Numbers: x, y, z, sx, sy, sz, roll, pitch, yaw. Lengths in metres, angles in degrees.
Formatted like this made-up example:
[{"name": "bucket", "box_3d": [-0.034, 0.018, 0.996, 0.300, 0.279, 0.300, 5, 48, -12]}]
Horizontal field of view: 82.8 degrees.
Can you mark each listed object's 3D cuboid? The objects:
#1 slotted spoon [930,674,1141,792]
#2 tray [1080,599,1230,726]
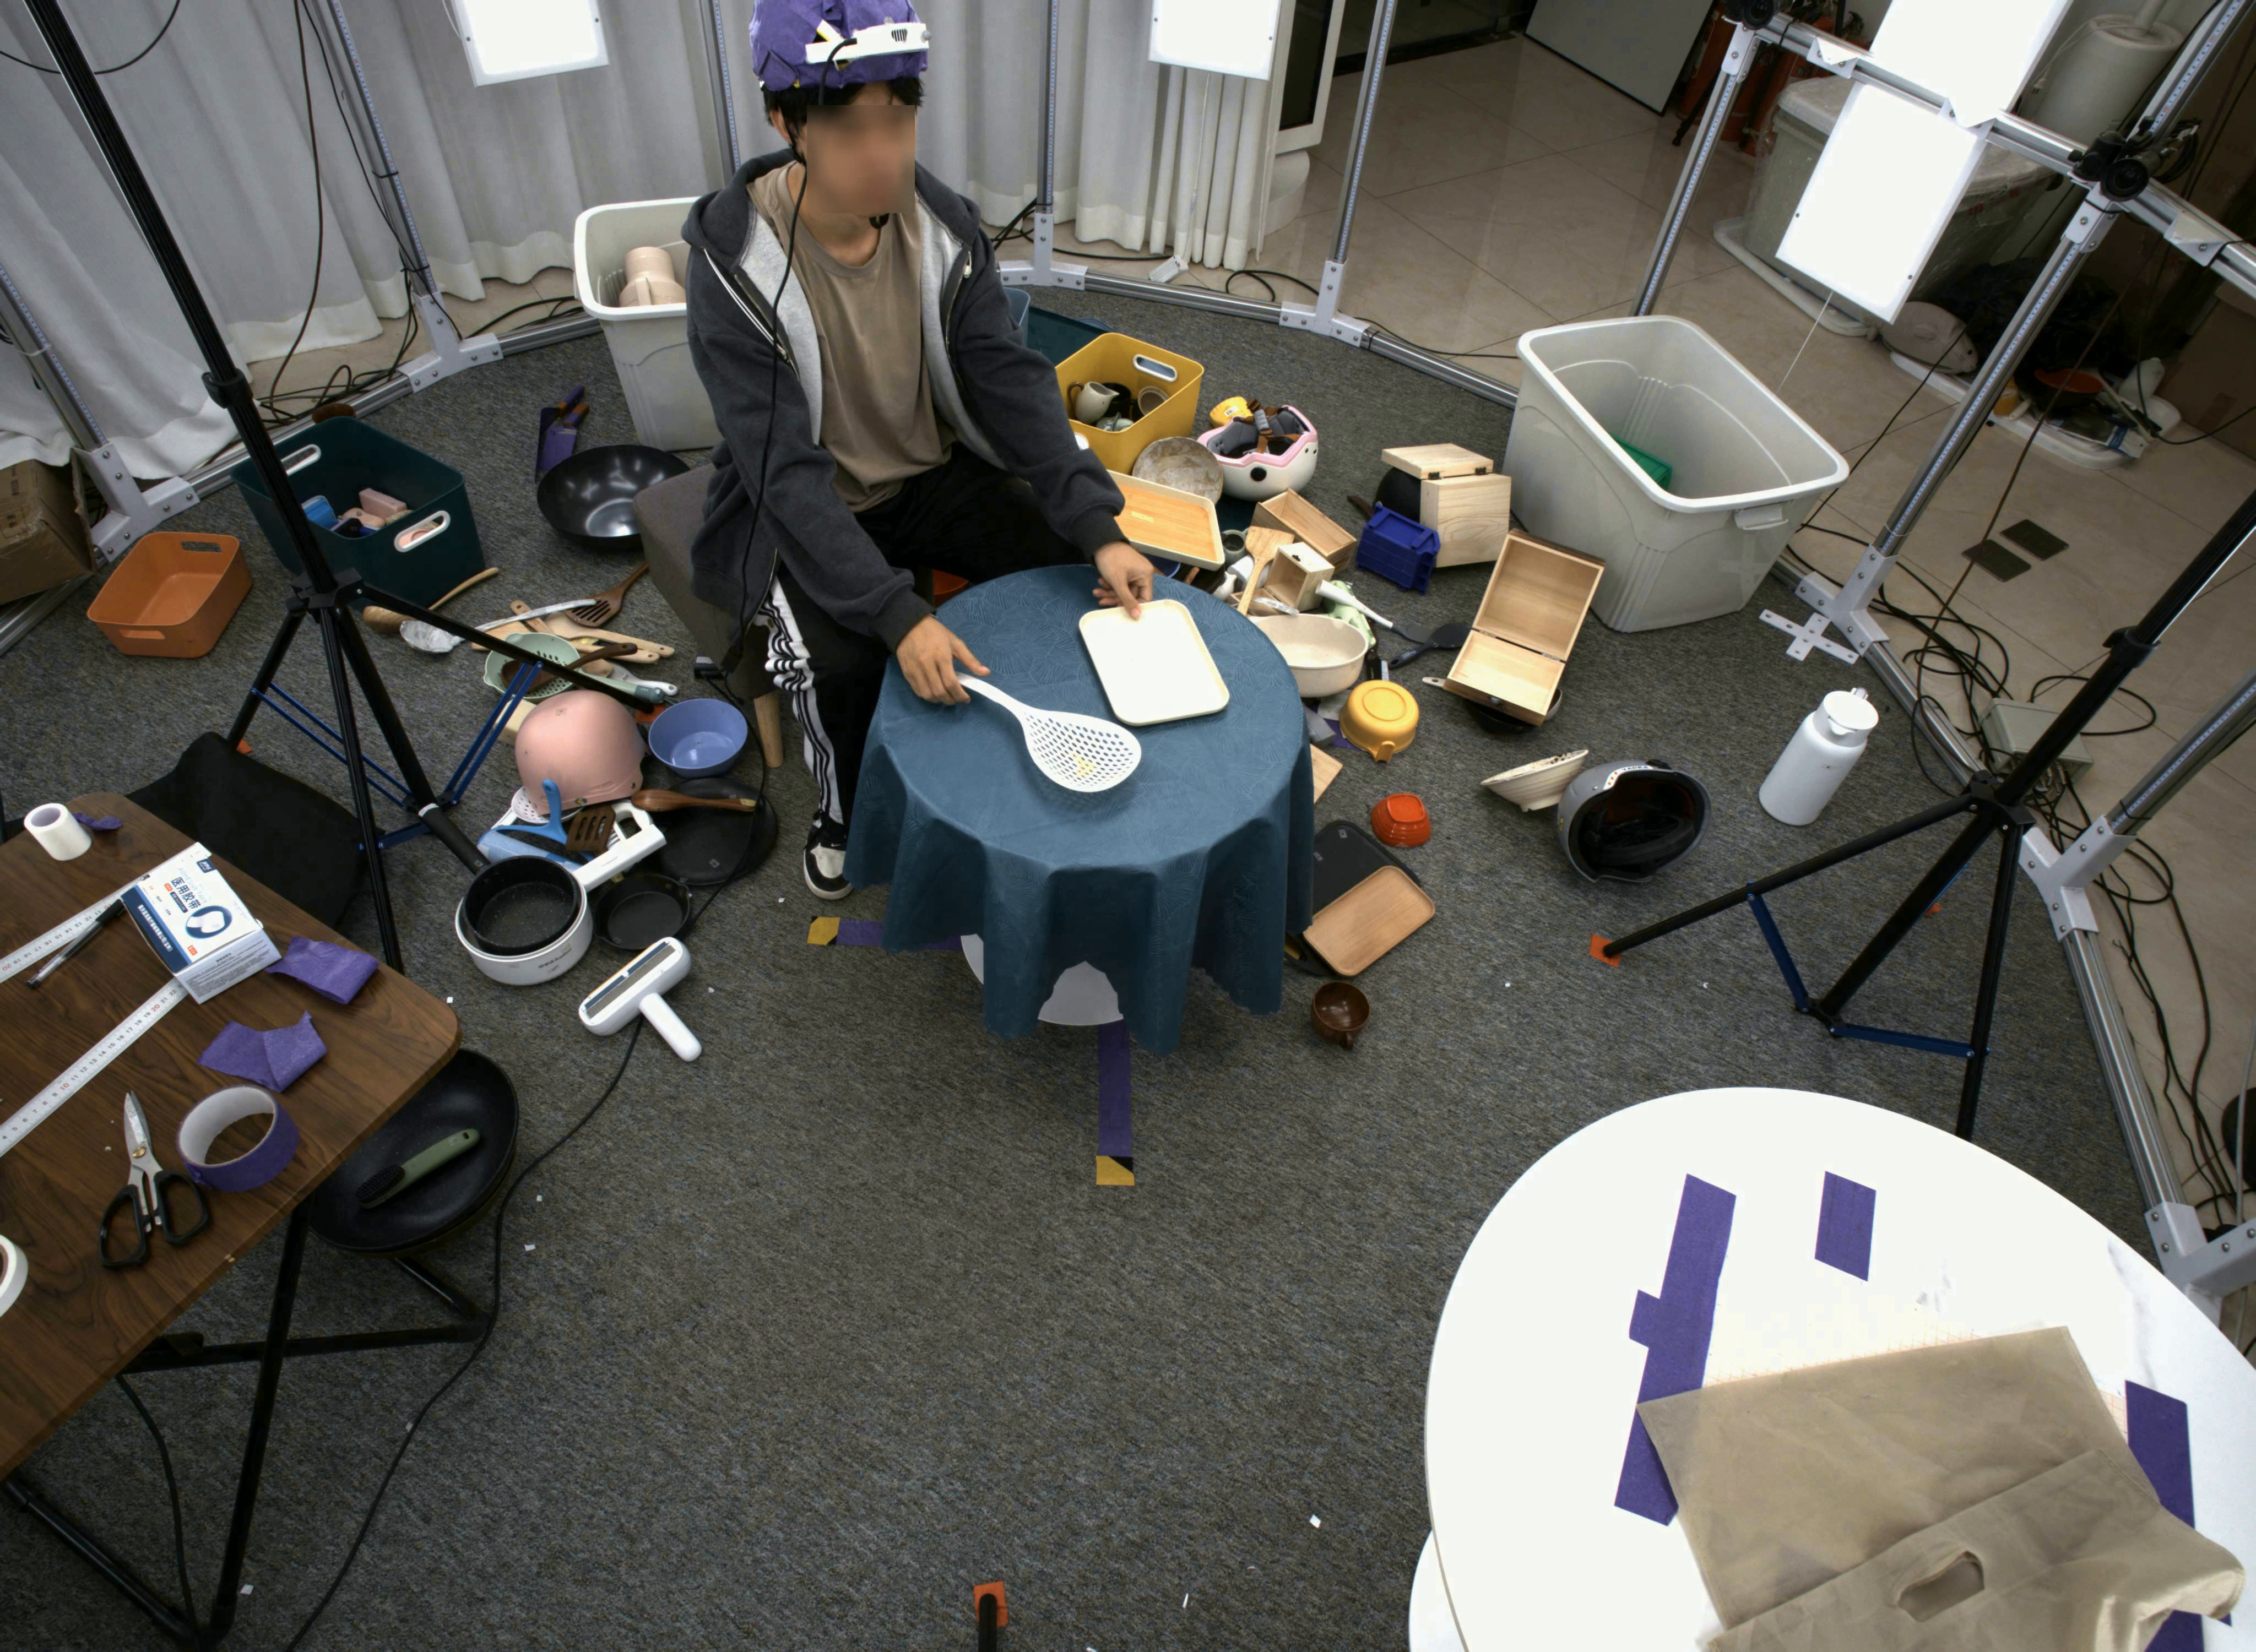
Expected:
[{"name": "slotted spoon", "box_3d": [-0.137, -0.143, 1.754, 0.352, 0.049, 0.138, 34, 57, 23]}, {"name": "tray", "box_3d": [0.036, -0.239, 1.865, 0.171, 0.017, 0.245, -11, 51, -12]}]
